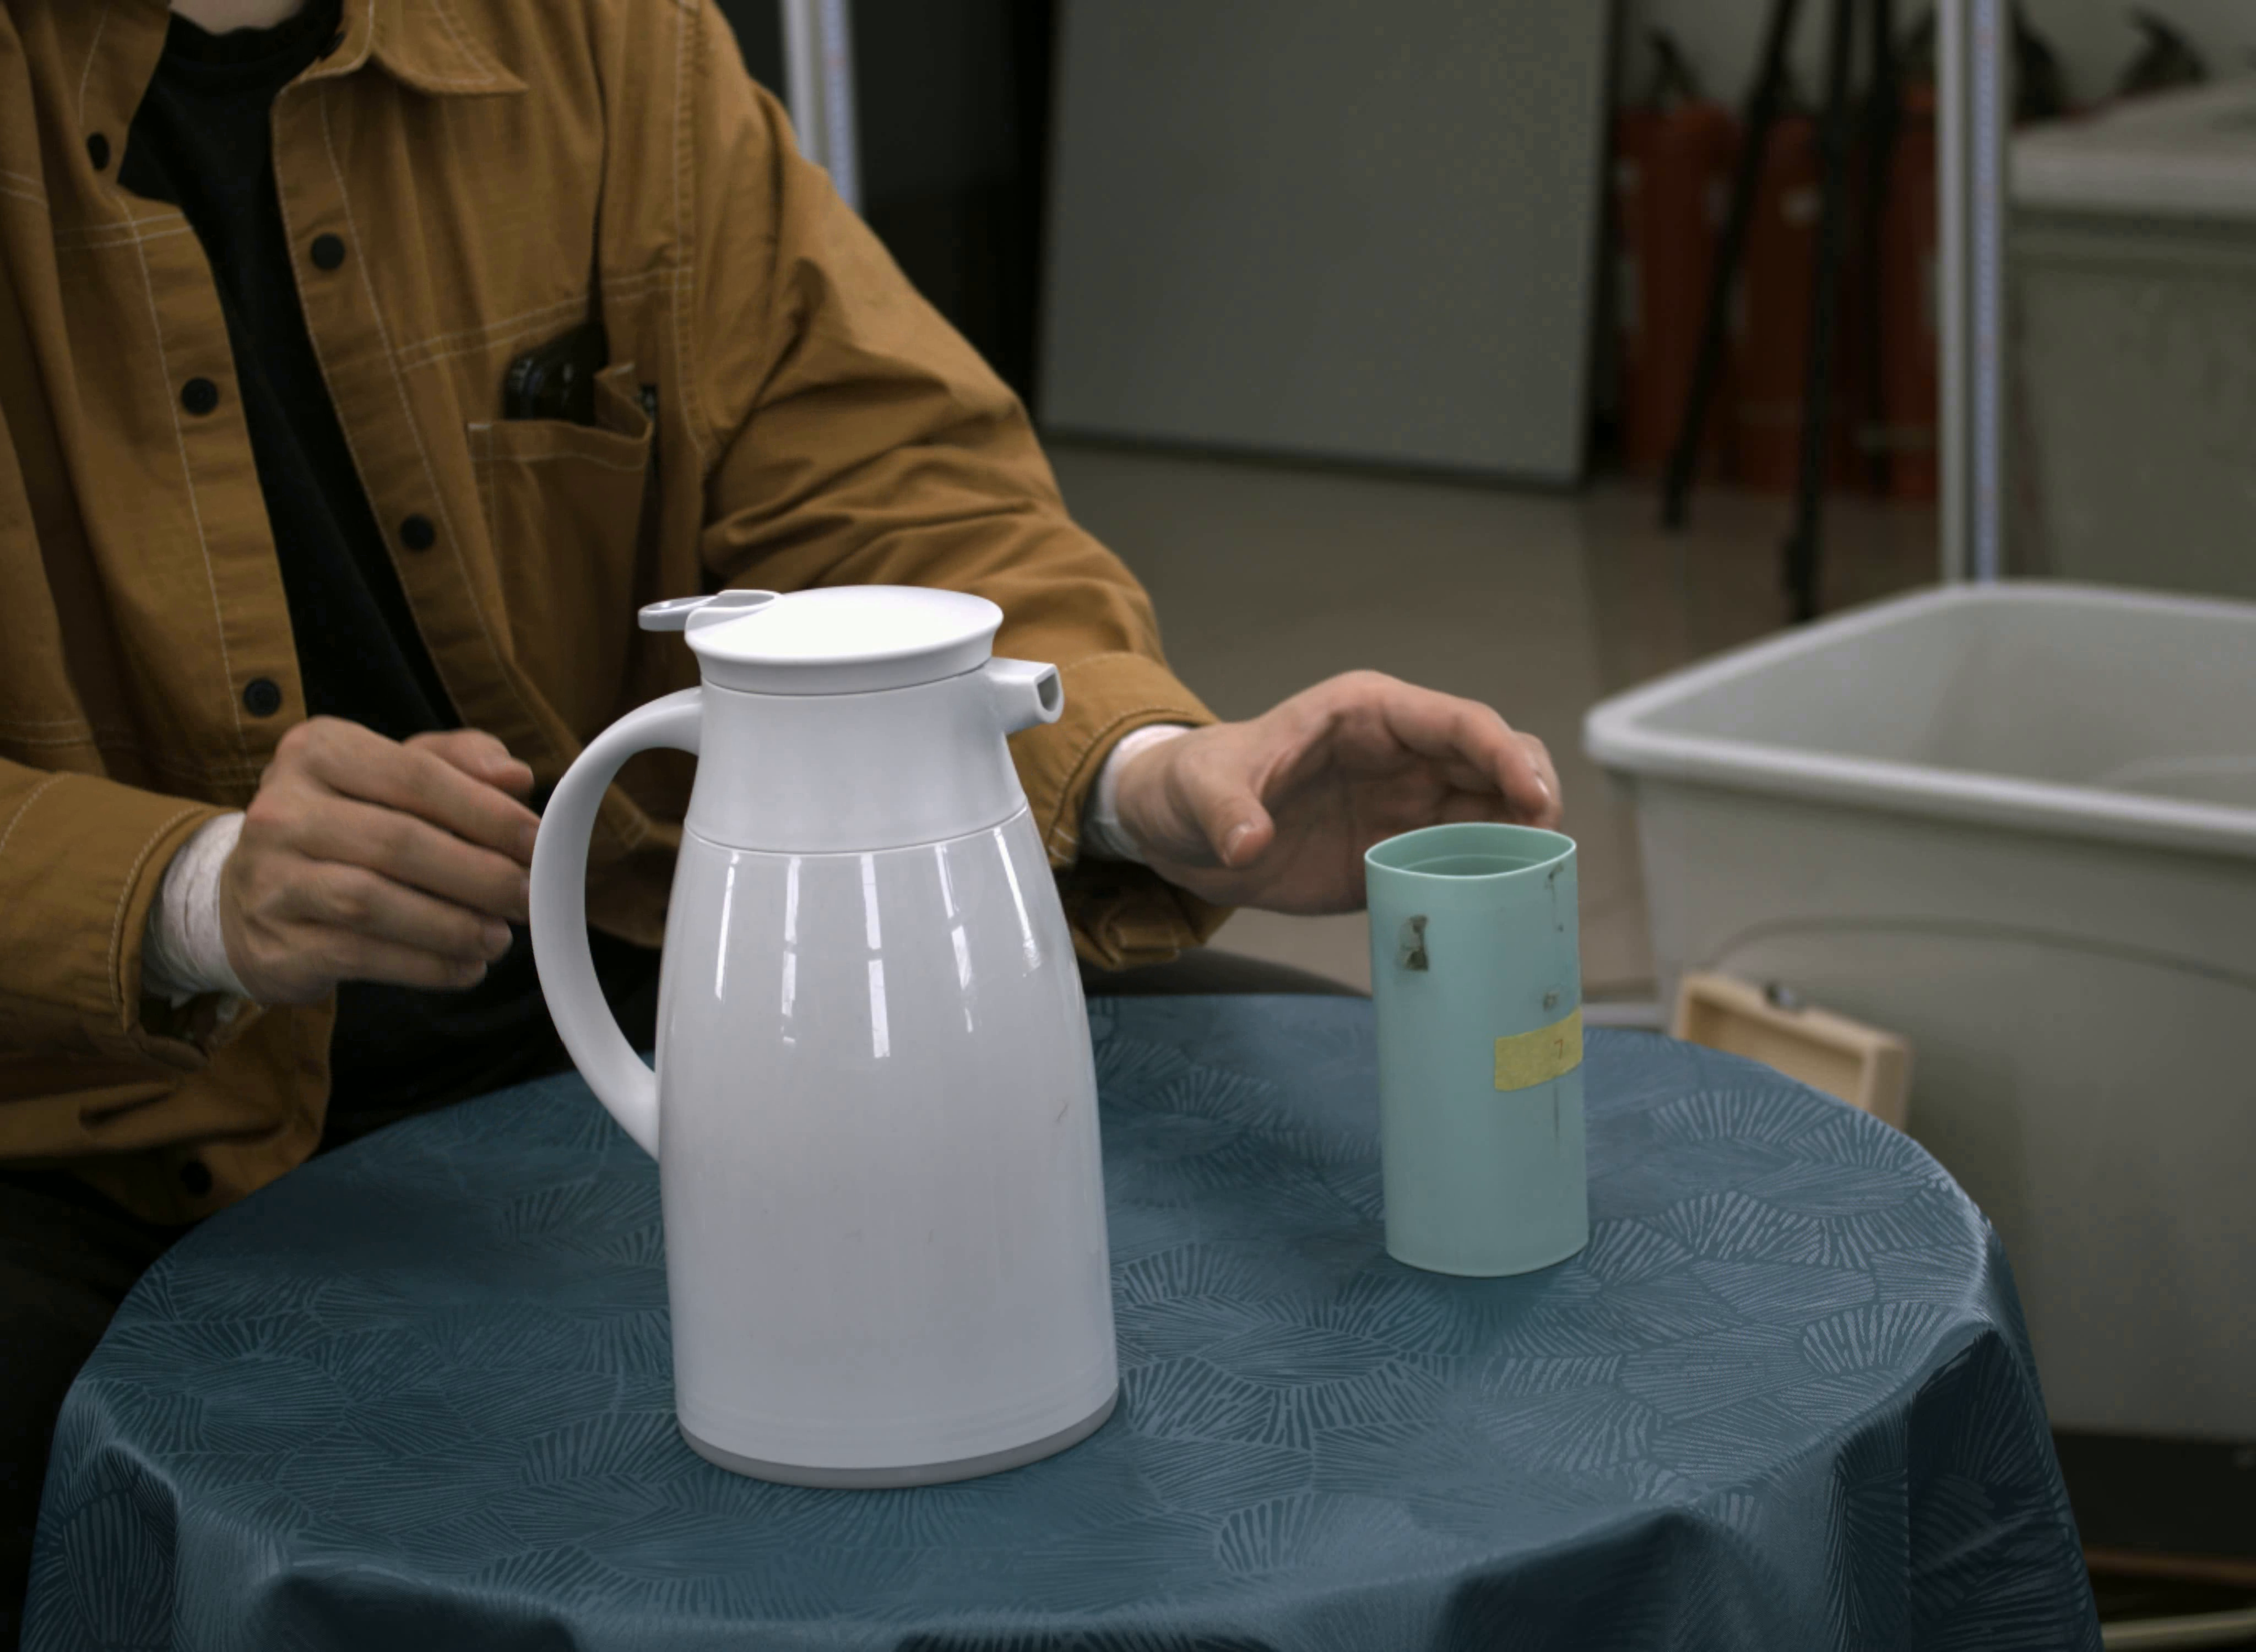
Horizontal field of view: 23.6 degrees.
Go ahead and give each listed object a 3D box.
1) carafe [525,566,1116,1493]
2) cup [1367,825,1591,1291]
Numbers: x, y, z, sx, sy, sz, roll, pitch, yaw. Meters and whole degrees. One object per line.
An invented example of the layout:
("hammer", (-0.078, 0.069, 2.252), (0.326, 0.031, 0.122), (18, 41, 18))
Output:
("carafe", (-0.094, 0.052, 1.564), (0.167, 0.251, 0.131), (0, 14, 20))
("cup", (0.109, 0.071, 1.681), (0.066, 0.134, 0.067), (-4, 13, 0))
